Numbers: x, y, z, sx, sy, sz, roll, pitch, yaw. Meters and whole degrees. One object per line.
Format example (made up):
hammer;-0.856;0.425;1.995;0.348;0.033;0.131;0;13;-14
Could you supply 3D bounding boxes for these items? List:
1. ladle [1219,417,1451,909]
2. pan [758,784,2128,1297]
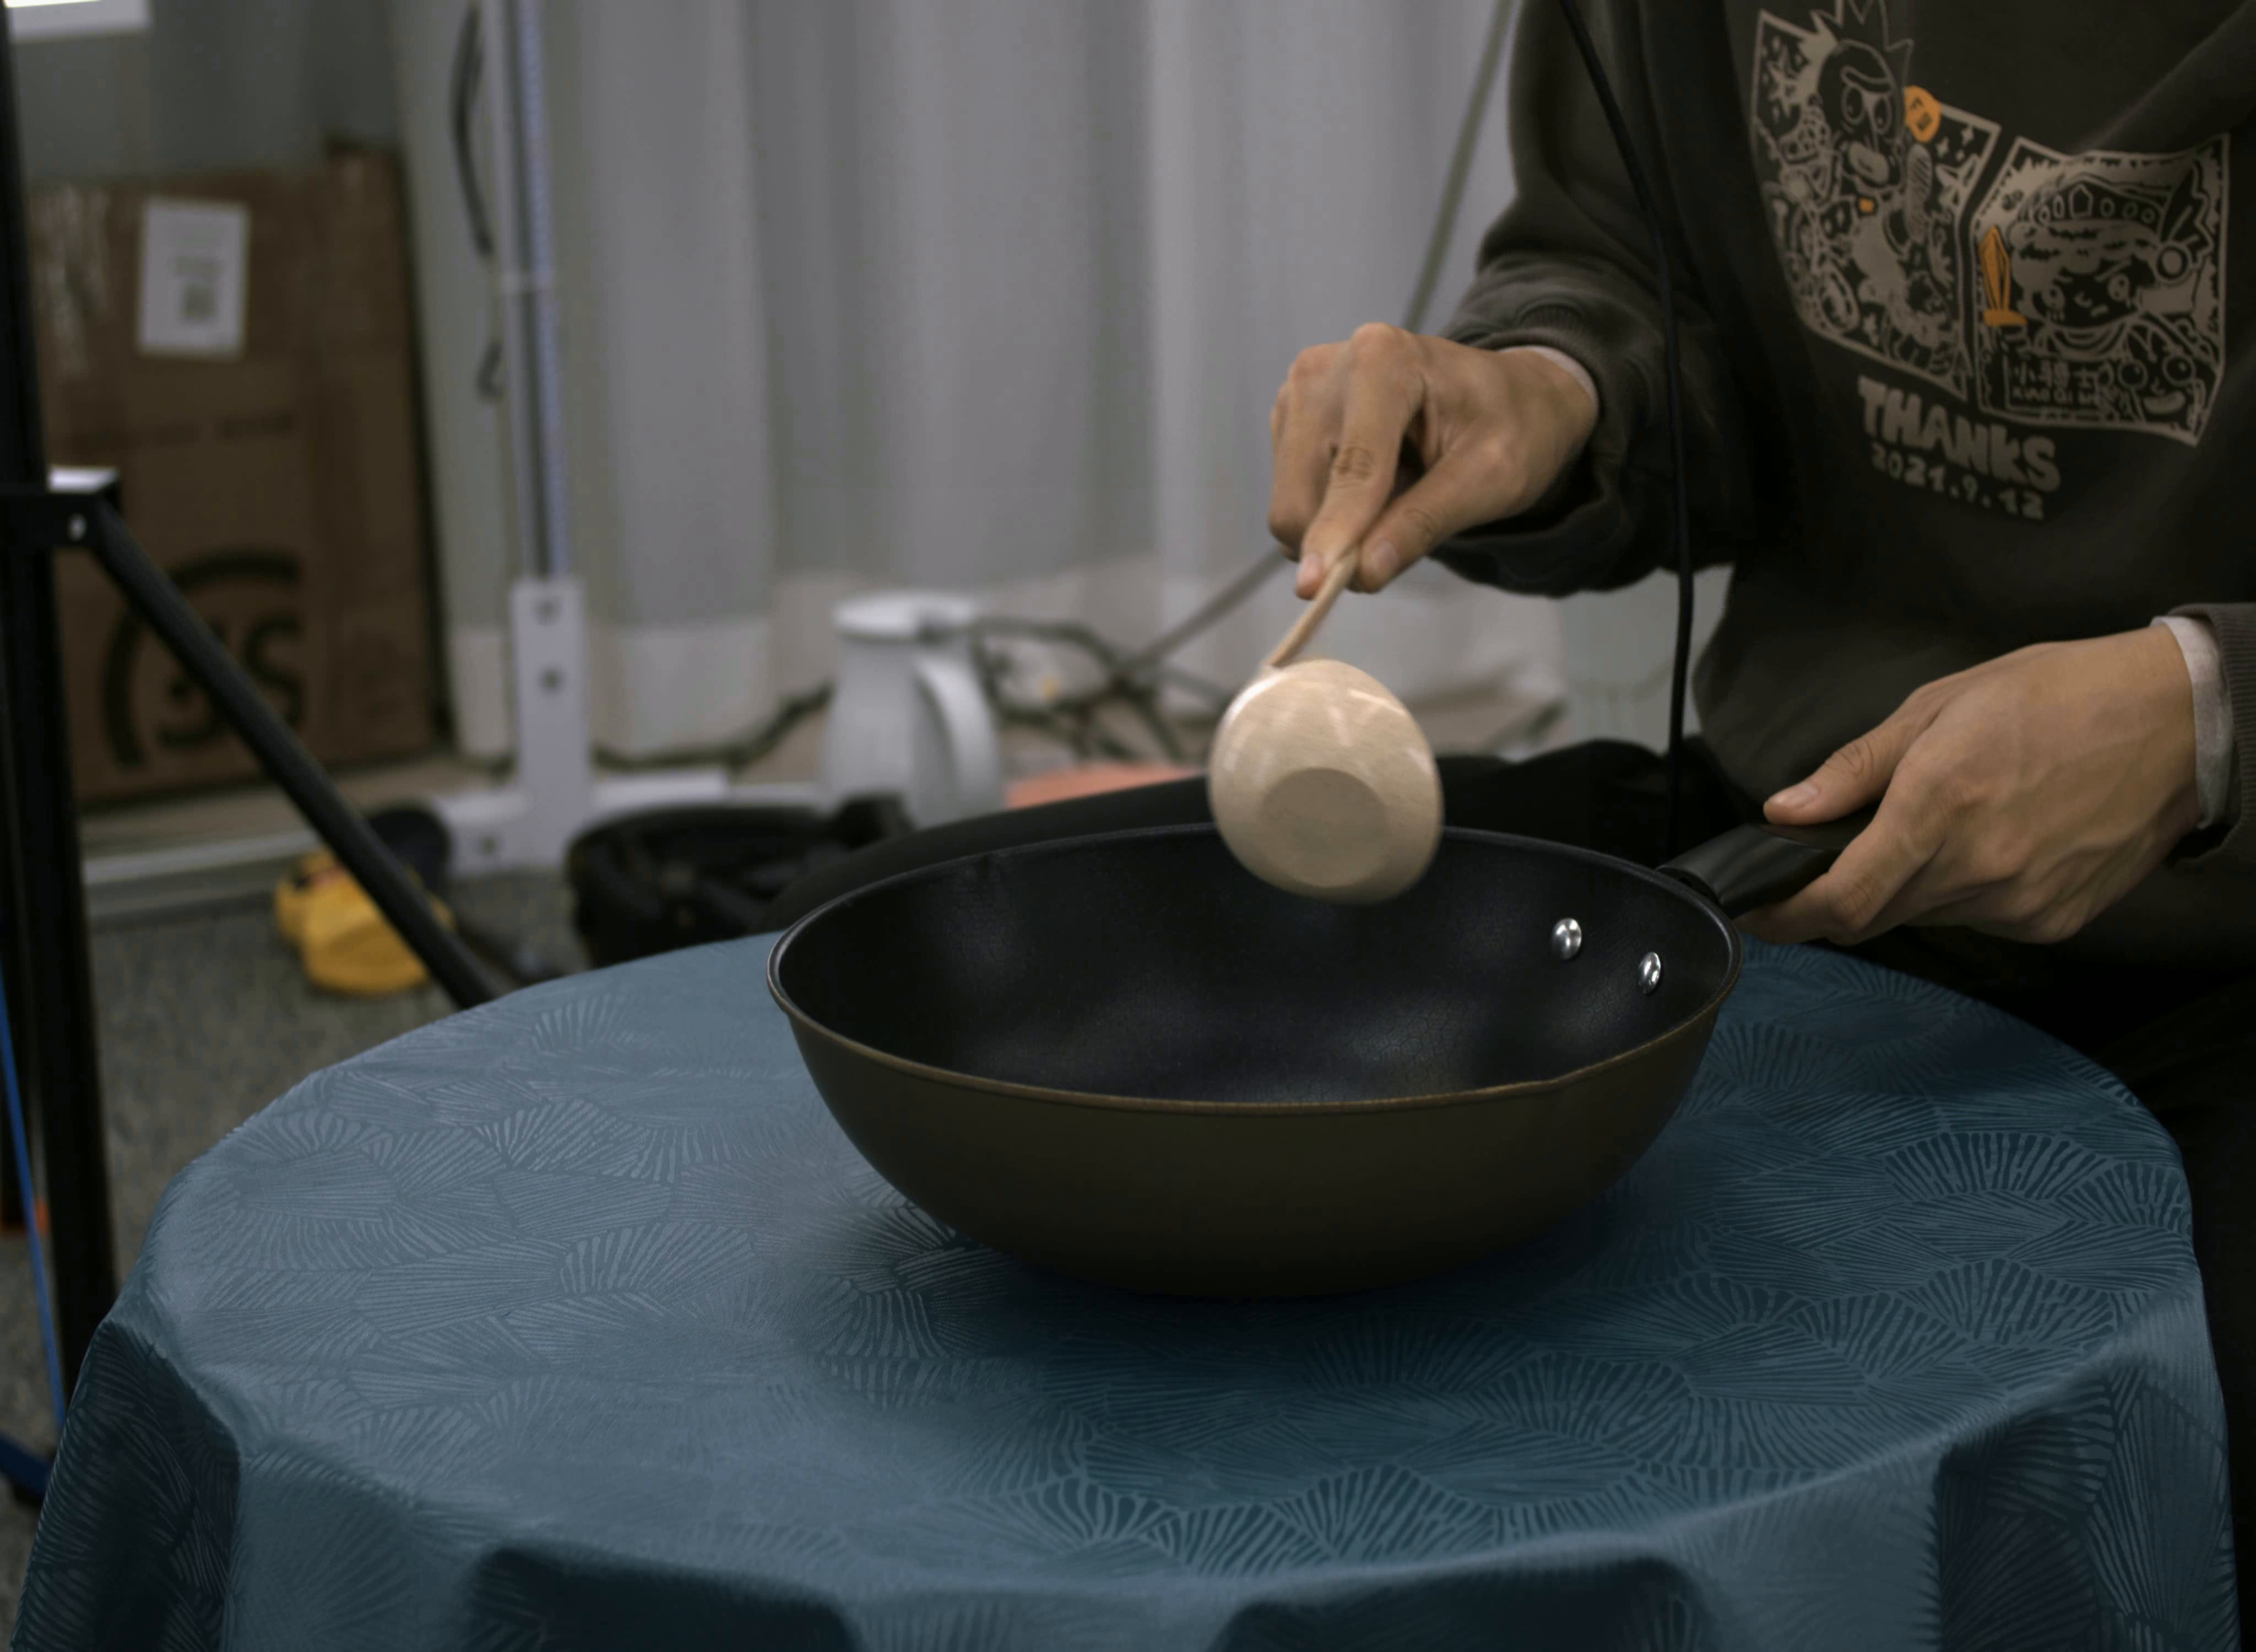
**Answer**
ladle;0.085;-0.056;1.636;0.073;0.072;0.253;24;31;3
pan;0.111;0.058;1.573;0.453;0.087;0.294;-10;17;-29
